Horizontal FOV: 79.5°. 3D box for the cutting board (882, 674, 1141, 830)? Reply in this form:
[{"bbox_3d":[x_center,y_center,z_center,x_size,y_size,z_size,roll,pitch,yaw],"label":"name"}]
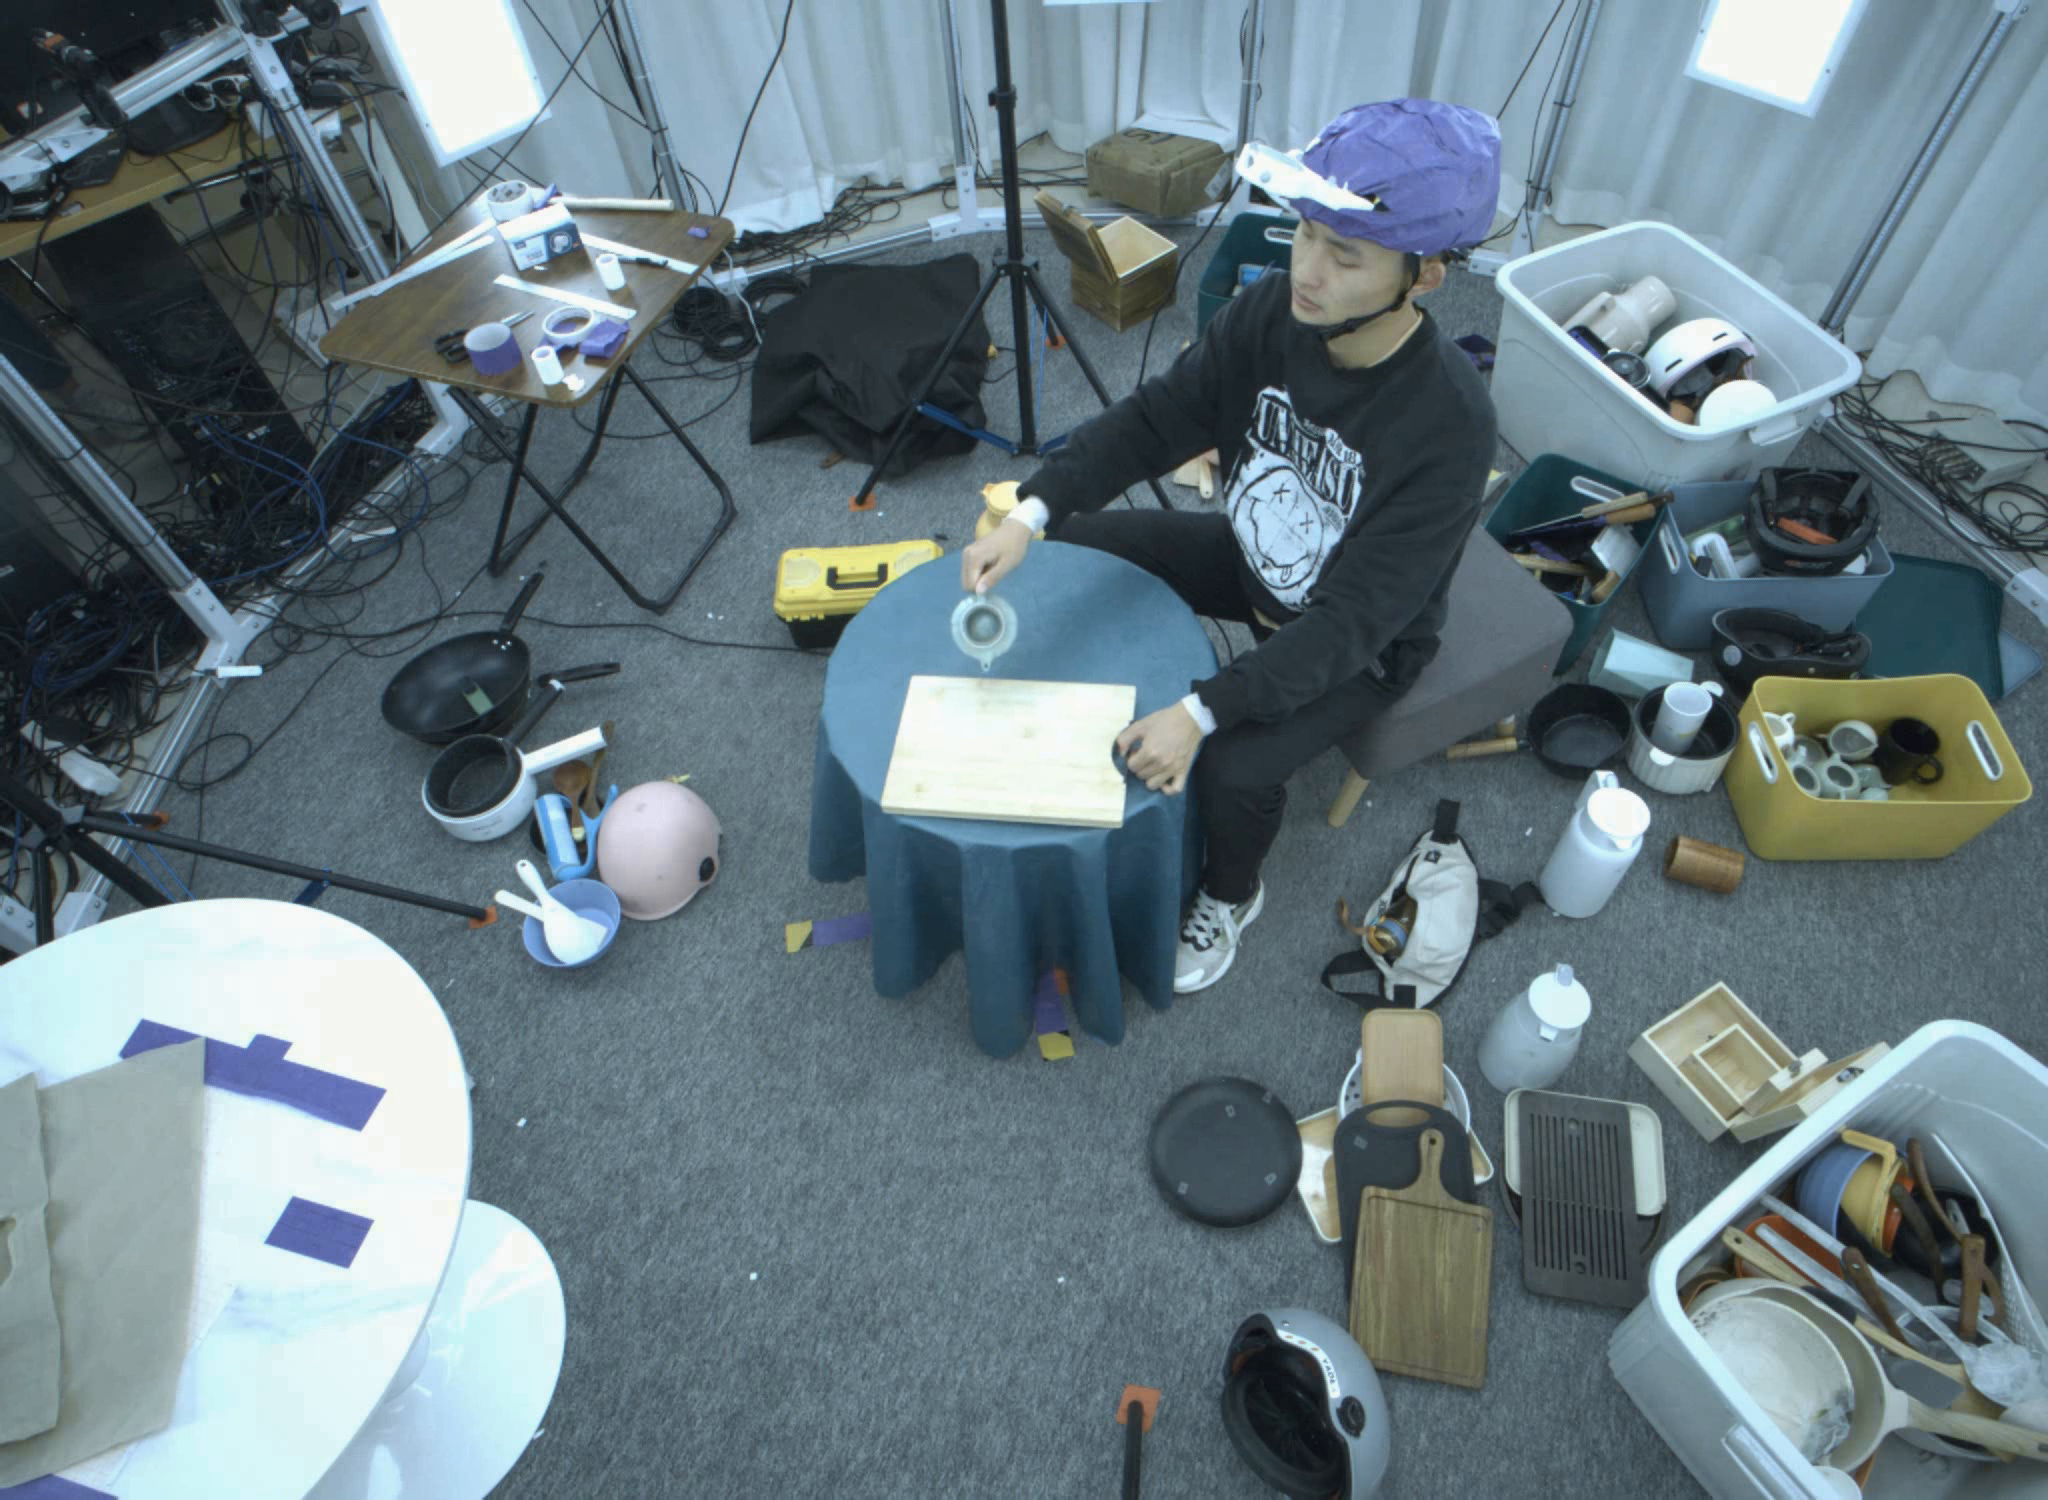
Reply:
[{"bbox_3d":[-0.013,-0.002,1.769,0.347,0.024,0.249,3,55,6],"label":"cutting board"}]

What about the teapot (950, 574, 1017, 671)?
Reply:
[{"bbox_3d":[-0.059,-0.182,1.748,0.096,0.061,0.137,-6,97,1],"label":"teapot"}]
